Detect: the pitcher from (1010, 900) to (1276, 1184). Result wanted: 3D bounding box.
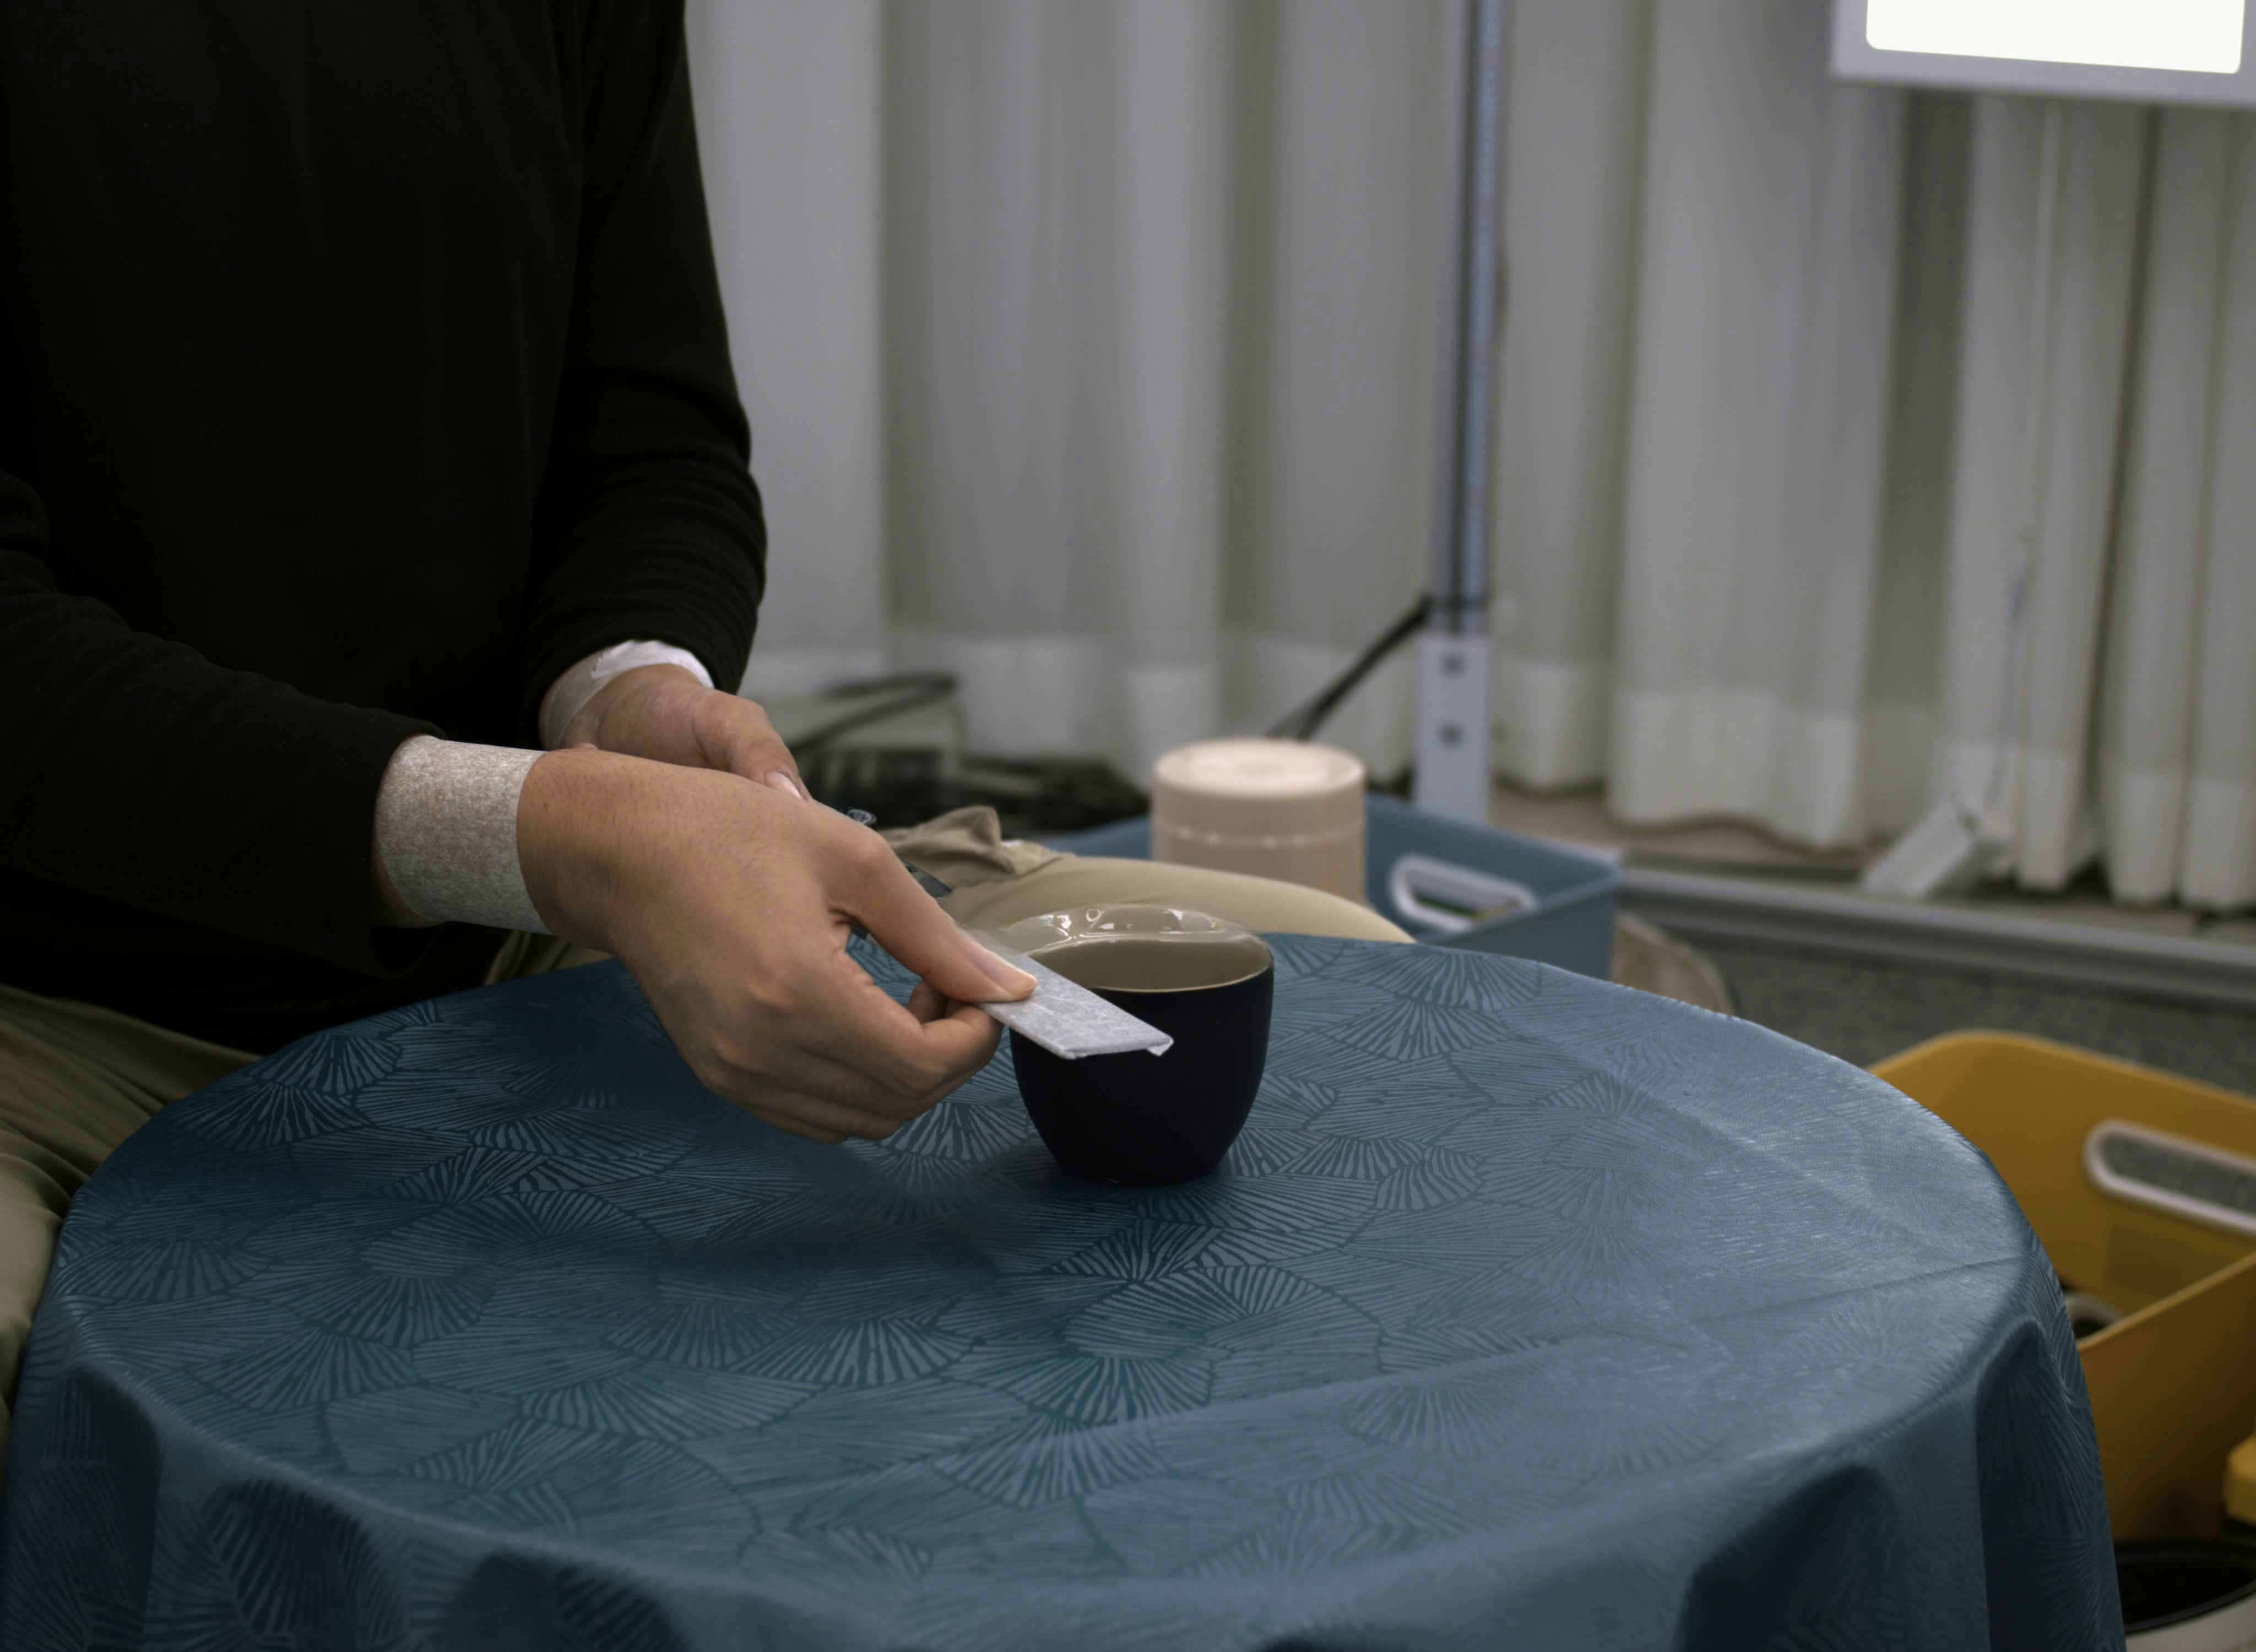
[{"bbox_3d":[0.002,0.069,1.641,0.084,0.072,0.095,-10,19,-28],"label":"pitcher"}]

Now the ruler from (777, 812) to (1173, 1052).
[{"bbox_3d":[-0.053,0.030,1.606,0.038,0.024,0.215,-12,18,-26],"label":"ruler"}]
